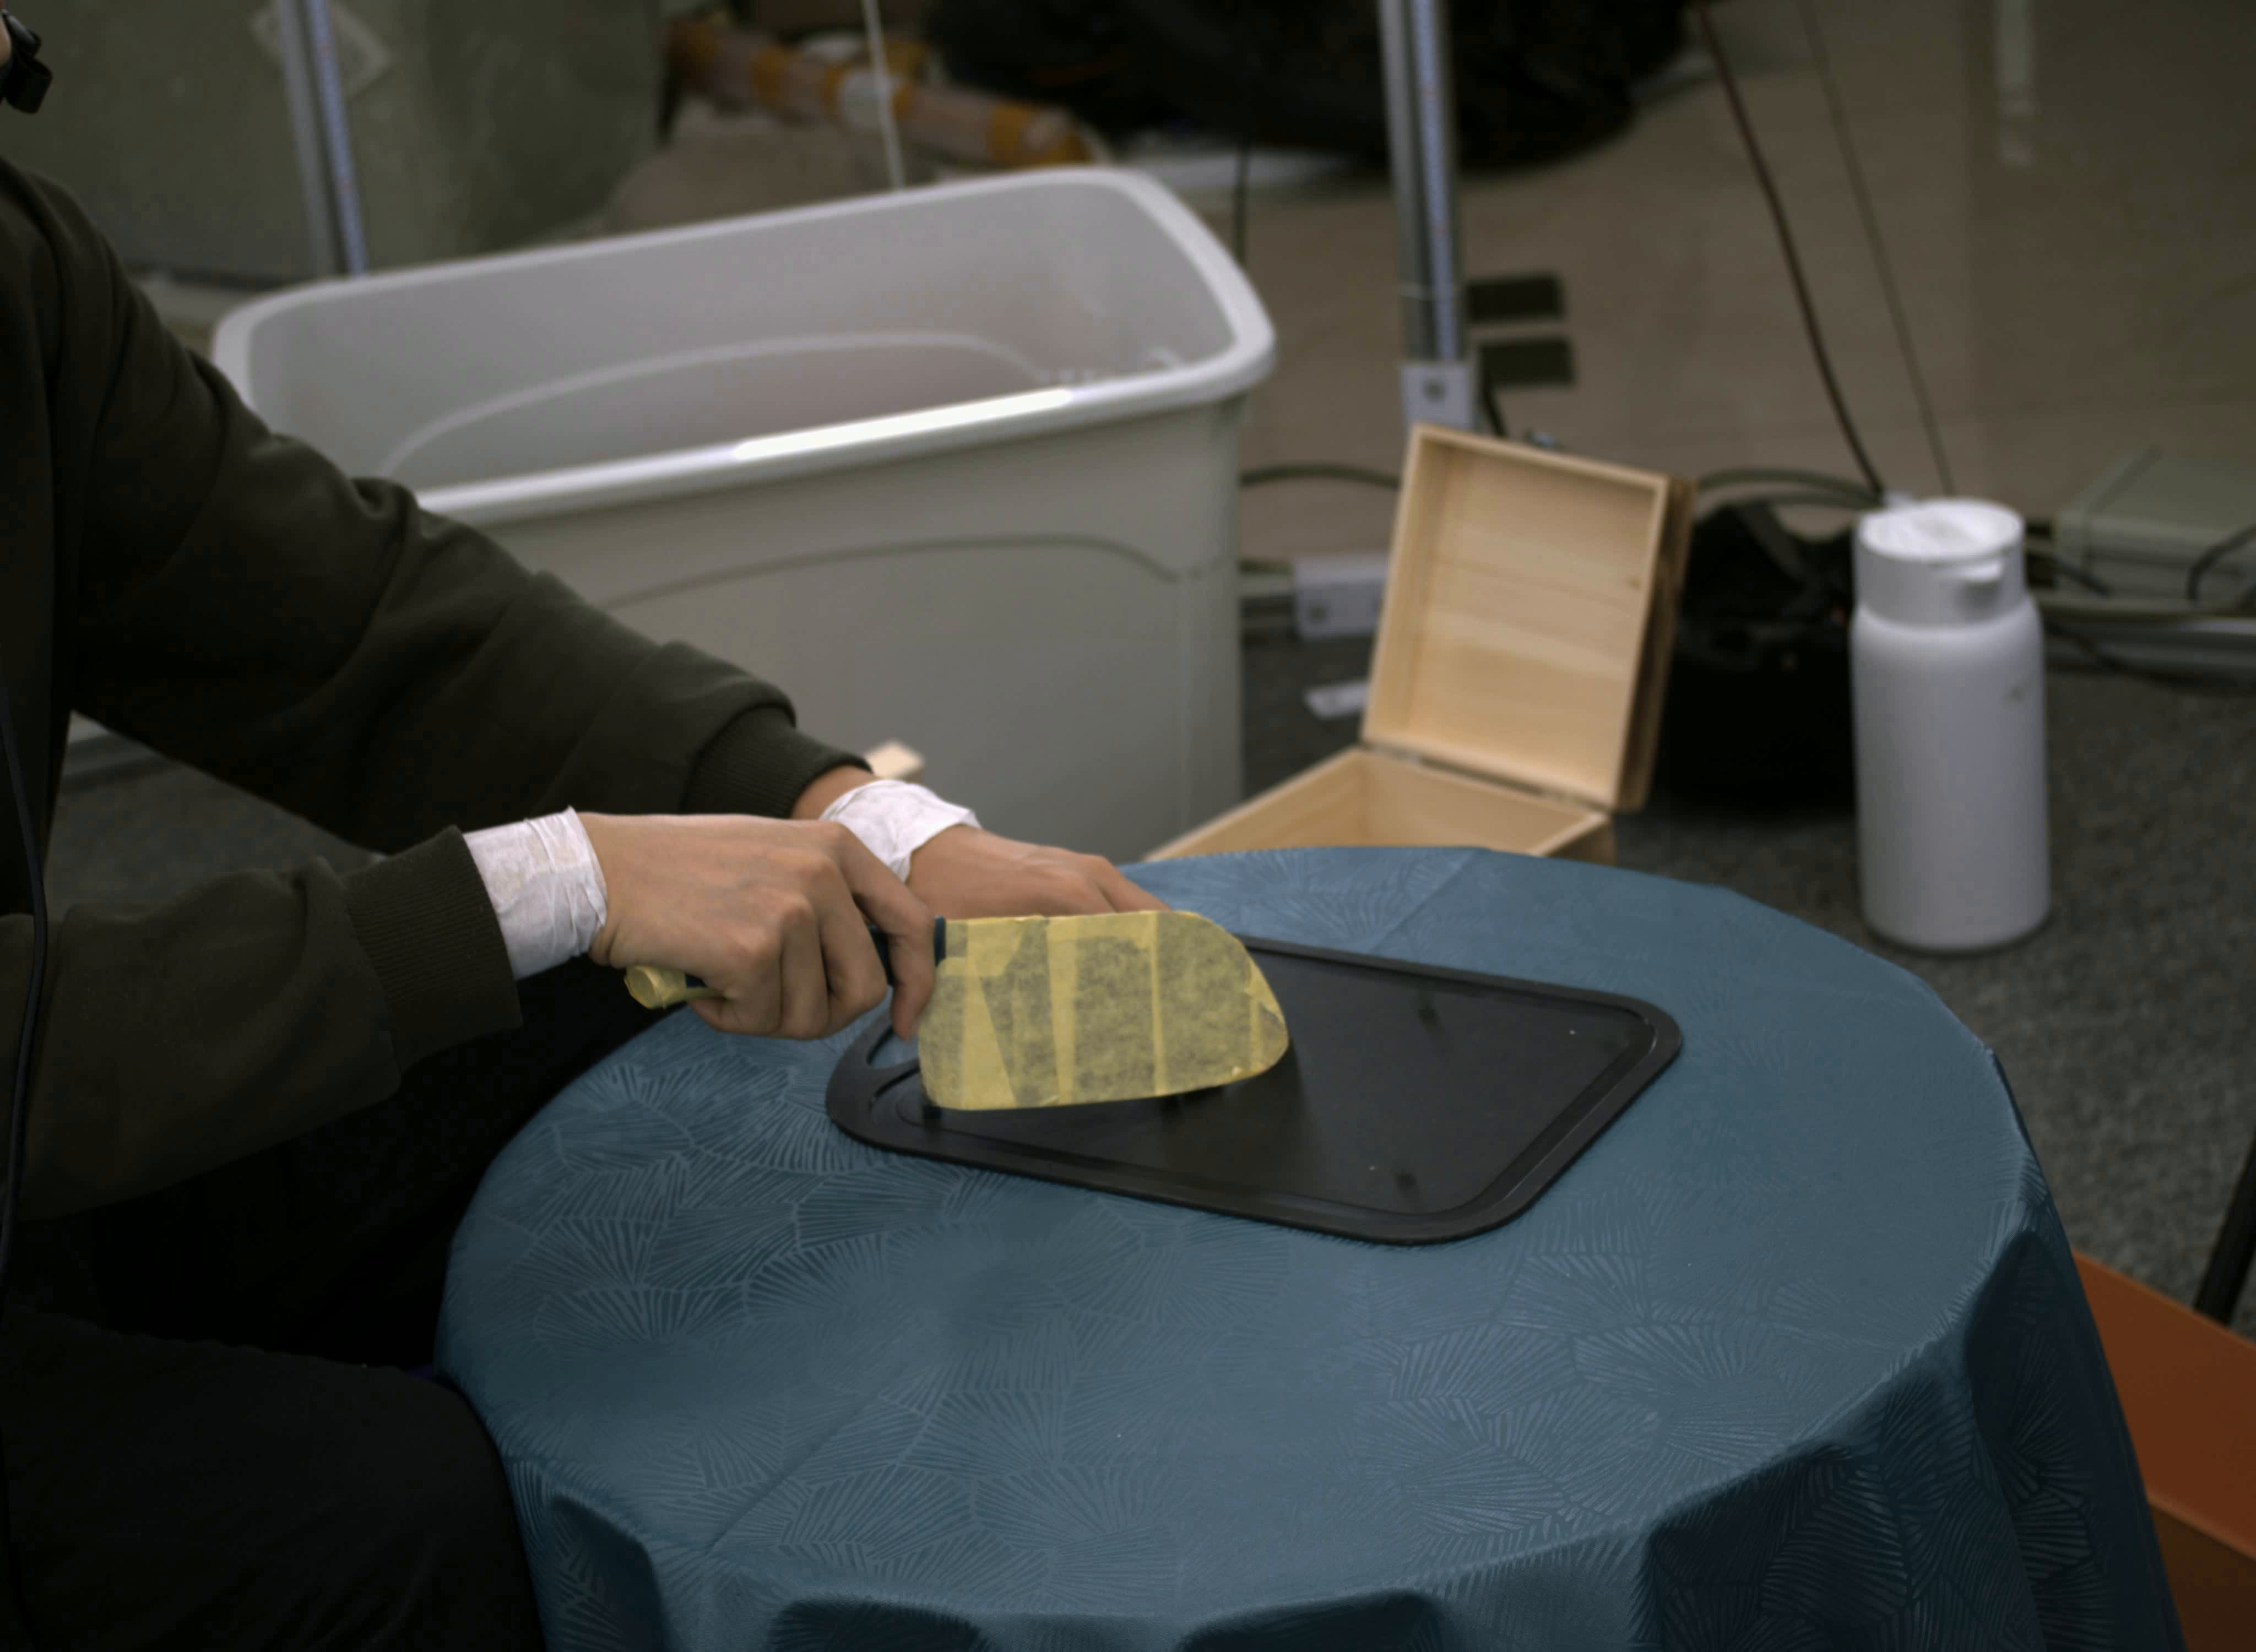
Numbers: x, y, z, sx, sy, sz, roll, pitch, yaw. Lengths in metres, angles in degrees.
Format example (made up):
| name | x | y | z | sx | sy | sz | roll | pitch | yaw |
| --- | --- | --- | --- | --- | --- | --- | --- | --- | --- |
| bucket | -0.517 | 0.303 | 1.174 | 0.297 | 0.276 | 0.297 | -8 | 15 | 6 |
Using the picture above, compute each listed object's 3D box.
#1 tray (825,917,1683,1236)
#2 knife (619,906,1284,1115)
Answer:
| name | x | y | z | sx | sy | sz | roll | pitch | yaw |
| --- | --- | --- | --- | --- | --- | --- | --- | --- | --- |
| tray | 0.041 | 0.093 | 2.230 | 0.324 | 0.010 | 0.208 | 9 | 29 | 30 |
| knife | -0.062 | 0.069 | 2.152 | 0.289 | 0.081 | 0.027 | 1 | -4 | -31 |
